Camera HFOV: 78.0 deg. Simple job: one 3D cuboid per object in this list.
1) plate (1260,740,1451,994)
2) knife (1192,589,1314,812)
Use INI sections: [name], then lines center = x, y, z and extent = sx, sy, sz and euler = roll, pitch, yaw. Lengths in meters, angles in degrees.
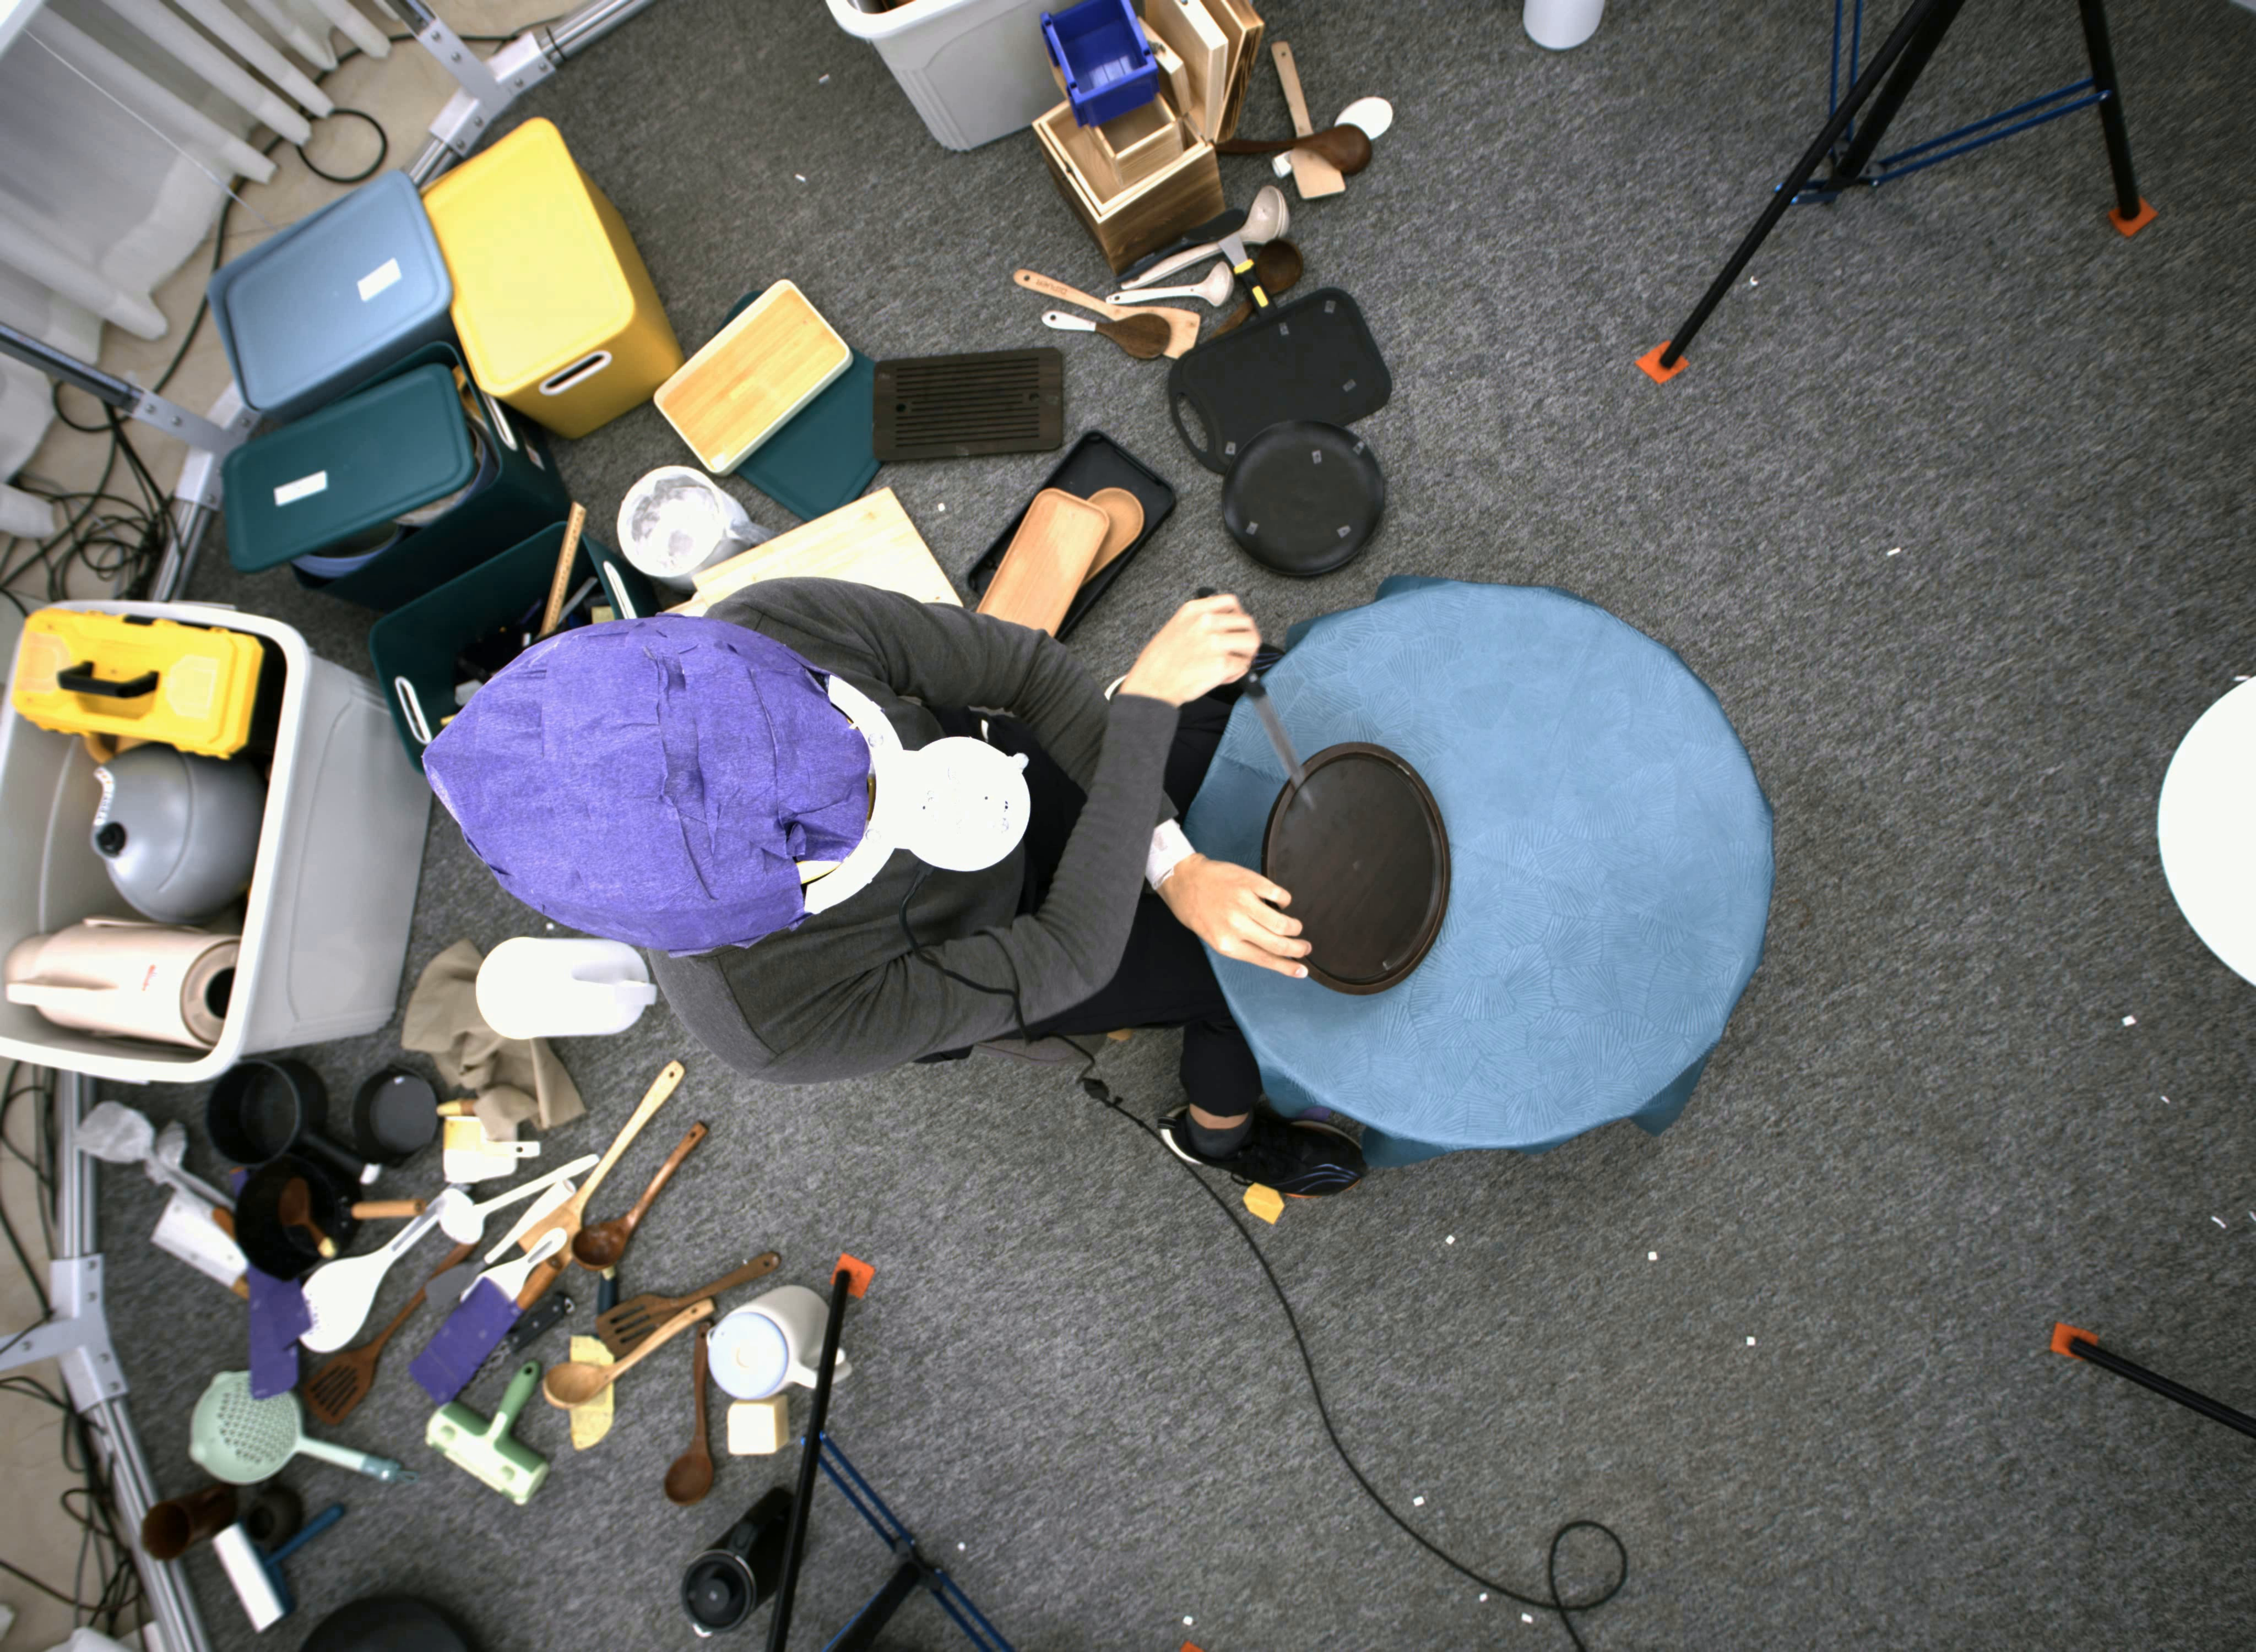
[plate]
center = 0.229, 0.040, 1.380
extent = 0.253, 0.029, 0.254
euler = 2, 88, -34
[knife]
center = 0.120, -0.118, 1.311
extent = 0.016, 0.024, 0.239
euler = -22, 98, 49
